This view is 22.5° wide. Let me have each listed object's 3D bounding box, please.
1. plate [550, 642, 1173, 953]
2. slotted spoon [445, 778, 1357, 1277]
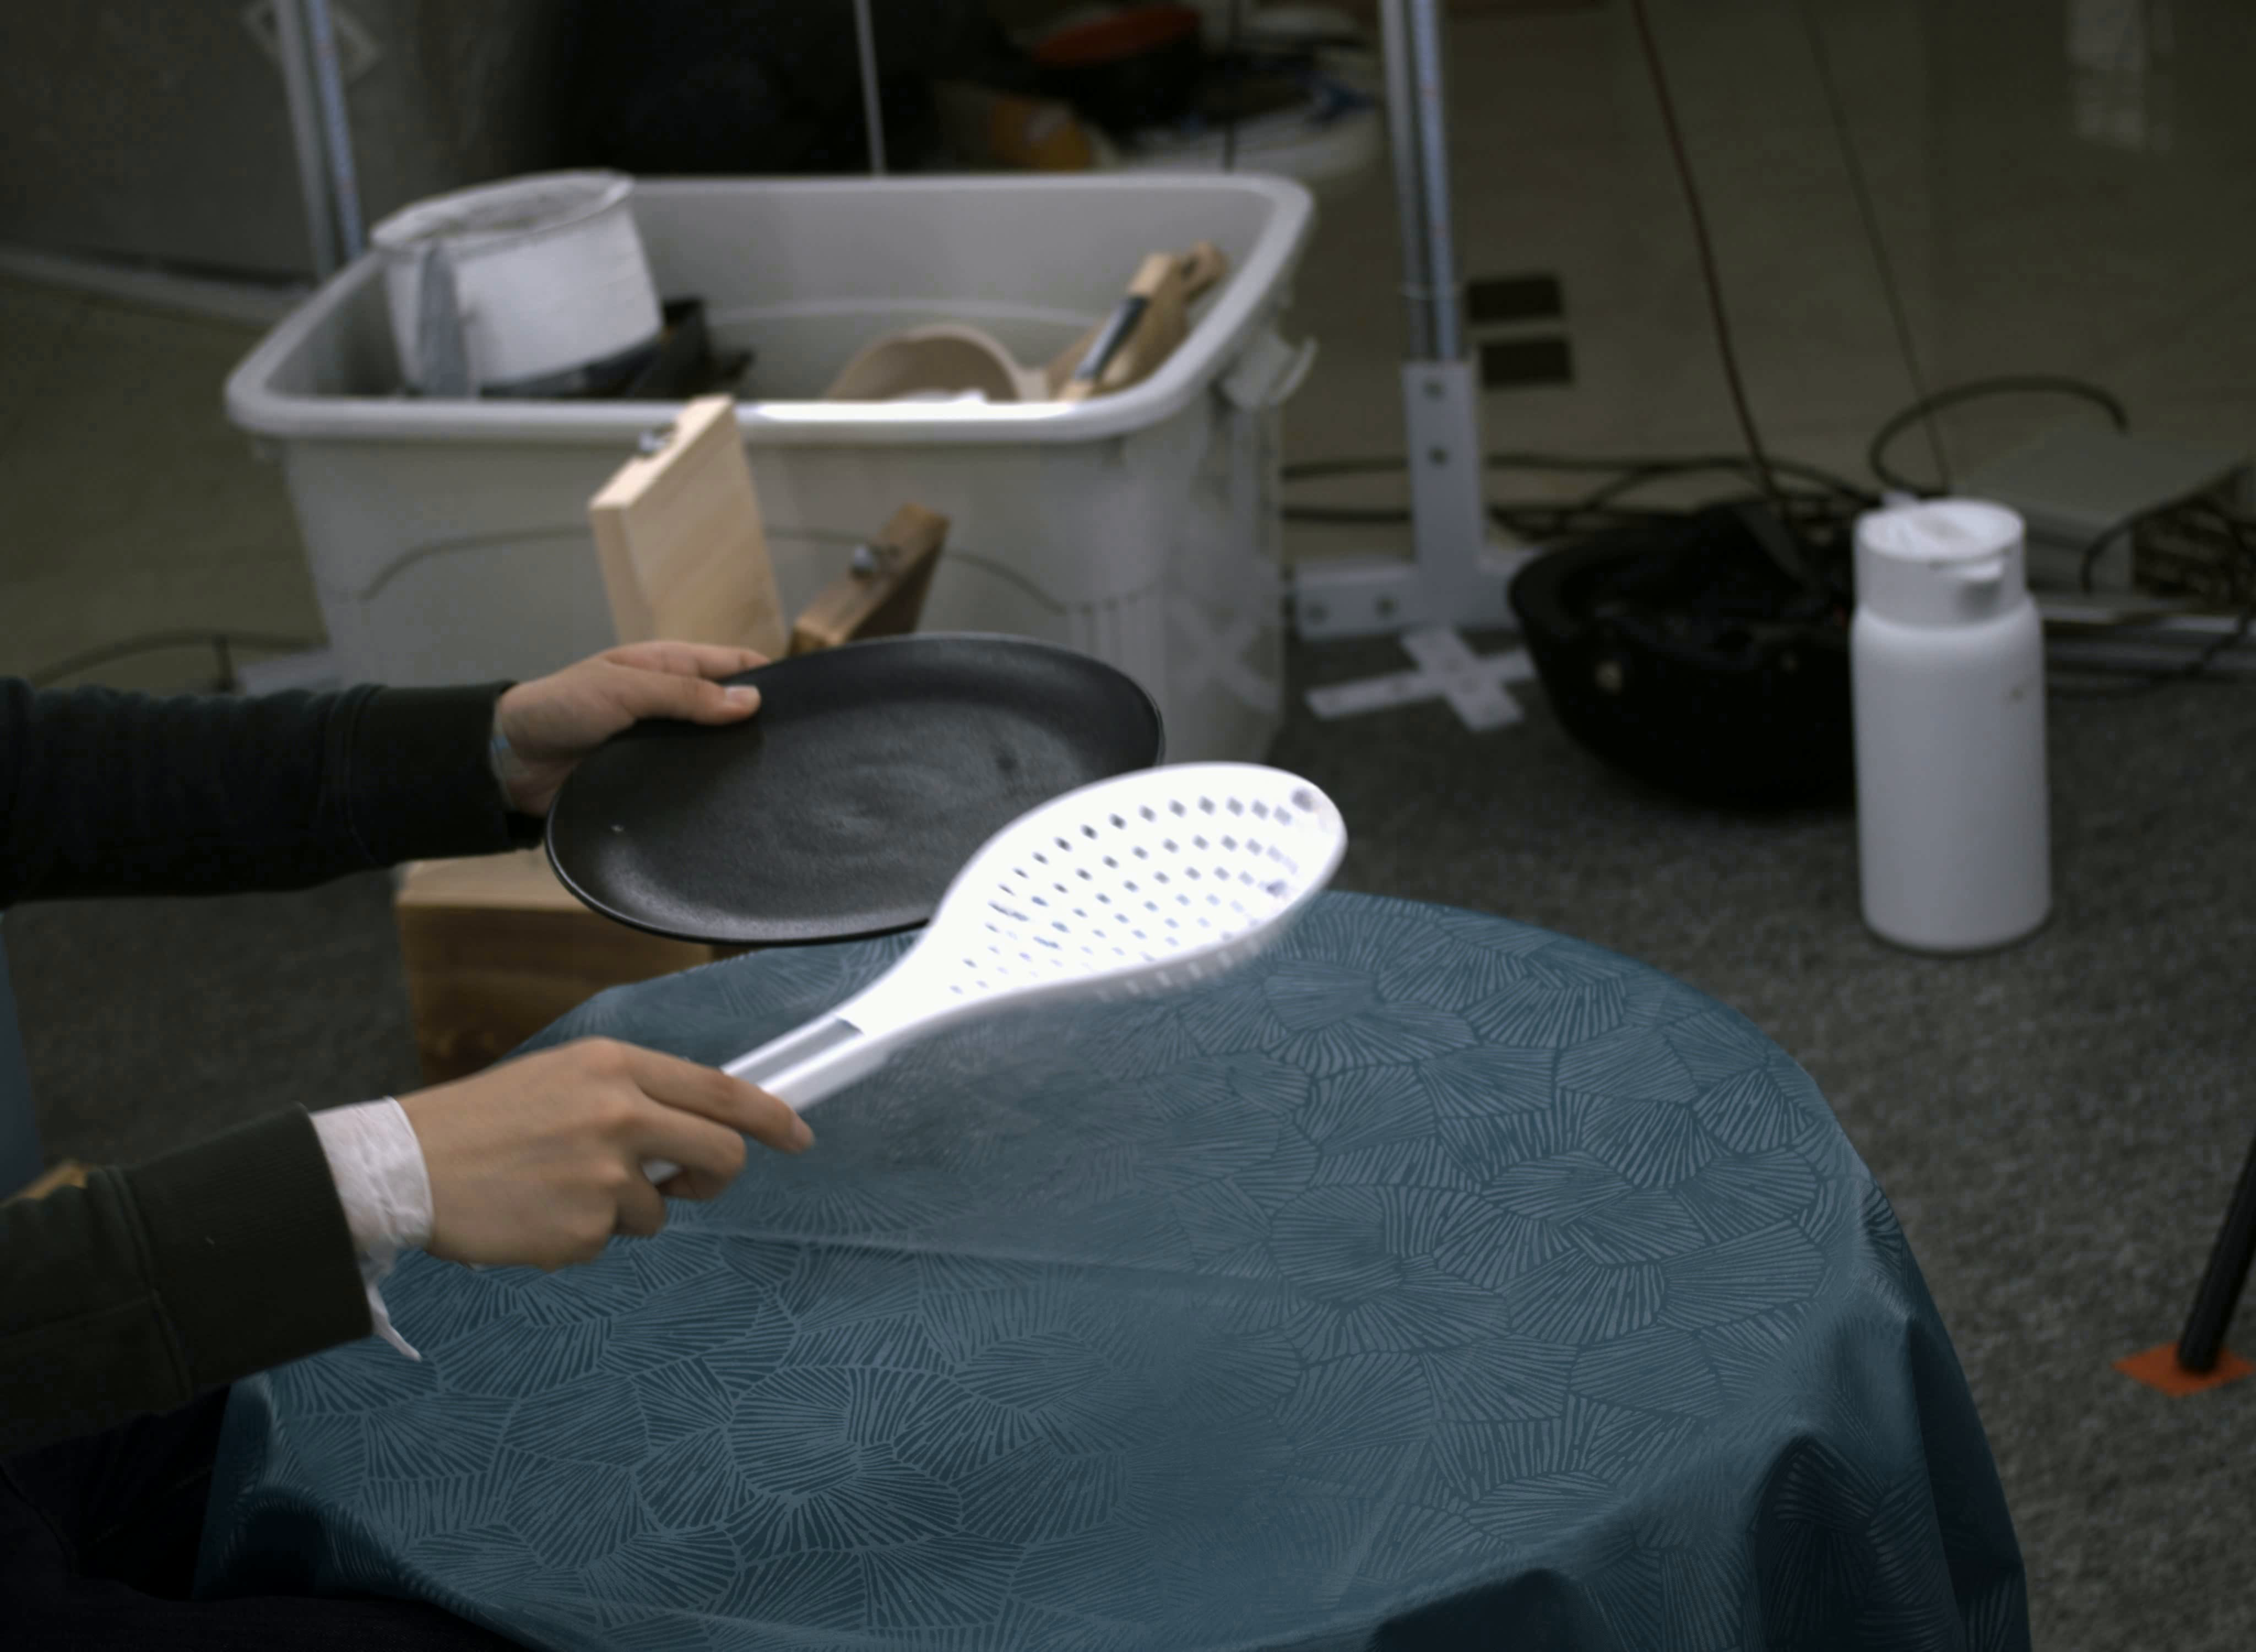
[{"bbox_3d":[-0.102,-0.006,2.181,0.244,0.024,0.240,-7,28,4],"label":"plate"},{"bbox_3d":[-0.075,0.068,1.920,0.347,0.046,0.134,-22,28,-25],"label":"slotted spoon"}]
